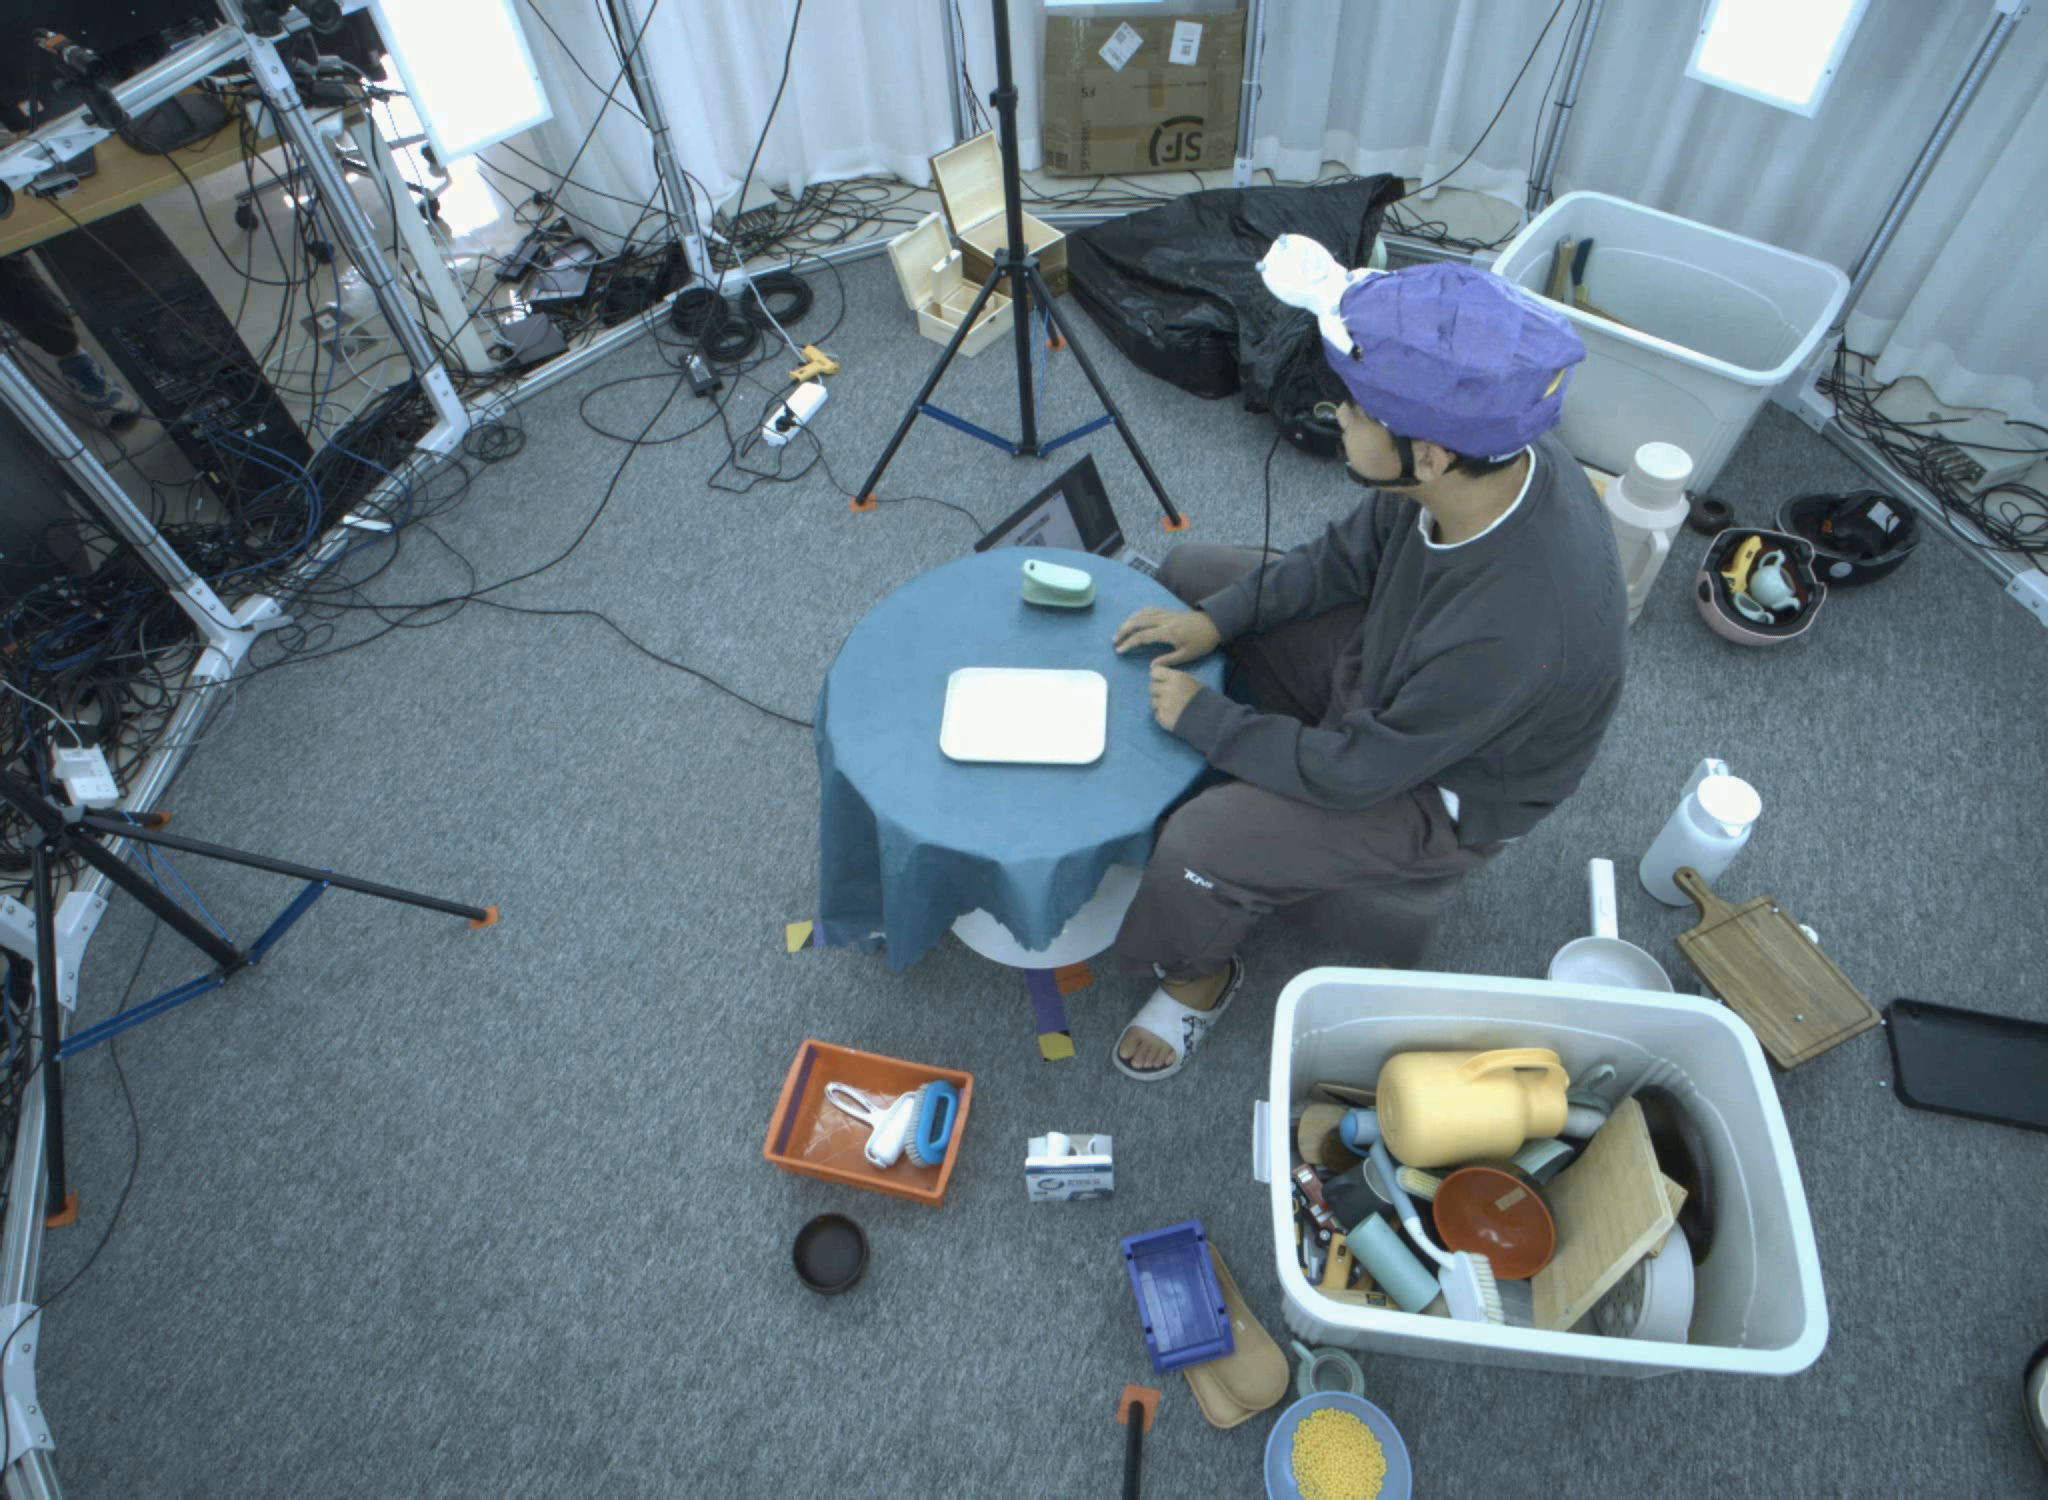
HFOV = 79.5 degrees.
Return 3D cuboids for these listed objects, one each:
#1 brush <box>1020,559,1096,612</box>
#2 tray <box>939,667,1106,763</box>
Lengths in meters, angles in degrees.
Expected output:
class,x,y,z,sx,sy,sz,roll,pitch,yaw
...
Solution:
class,x,y,z,sx,sy,sz,roll,pitch,yaw
brush,0.051,-0.255,1.934,0.123,0.076,0.059,13,56,-6
tray,0.000,-0.051,1.813,0.239,0.017,0.170,2,55,3
